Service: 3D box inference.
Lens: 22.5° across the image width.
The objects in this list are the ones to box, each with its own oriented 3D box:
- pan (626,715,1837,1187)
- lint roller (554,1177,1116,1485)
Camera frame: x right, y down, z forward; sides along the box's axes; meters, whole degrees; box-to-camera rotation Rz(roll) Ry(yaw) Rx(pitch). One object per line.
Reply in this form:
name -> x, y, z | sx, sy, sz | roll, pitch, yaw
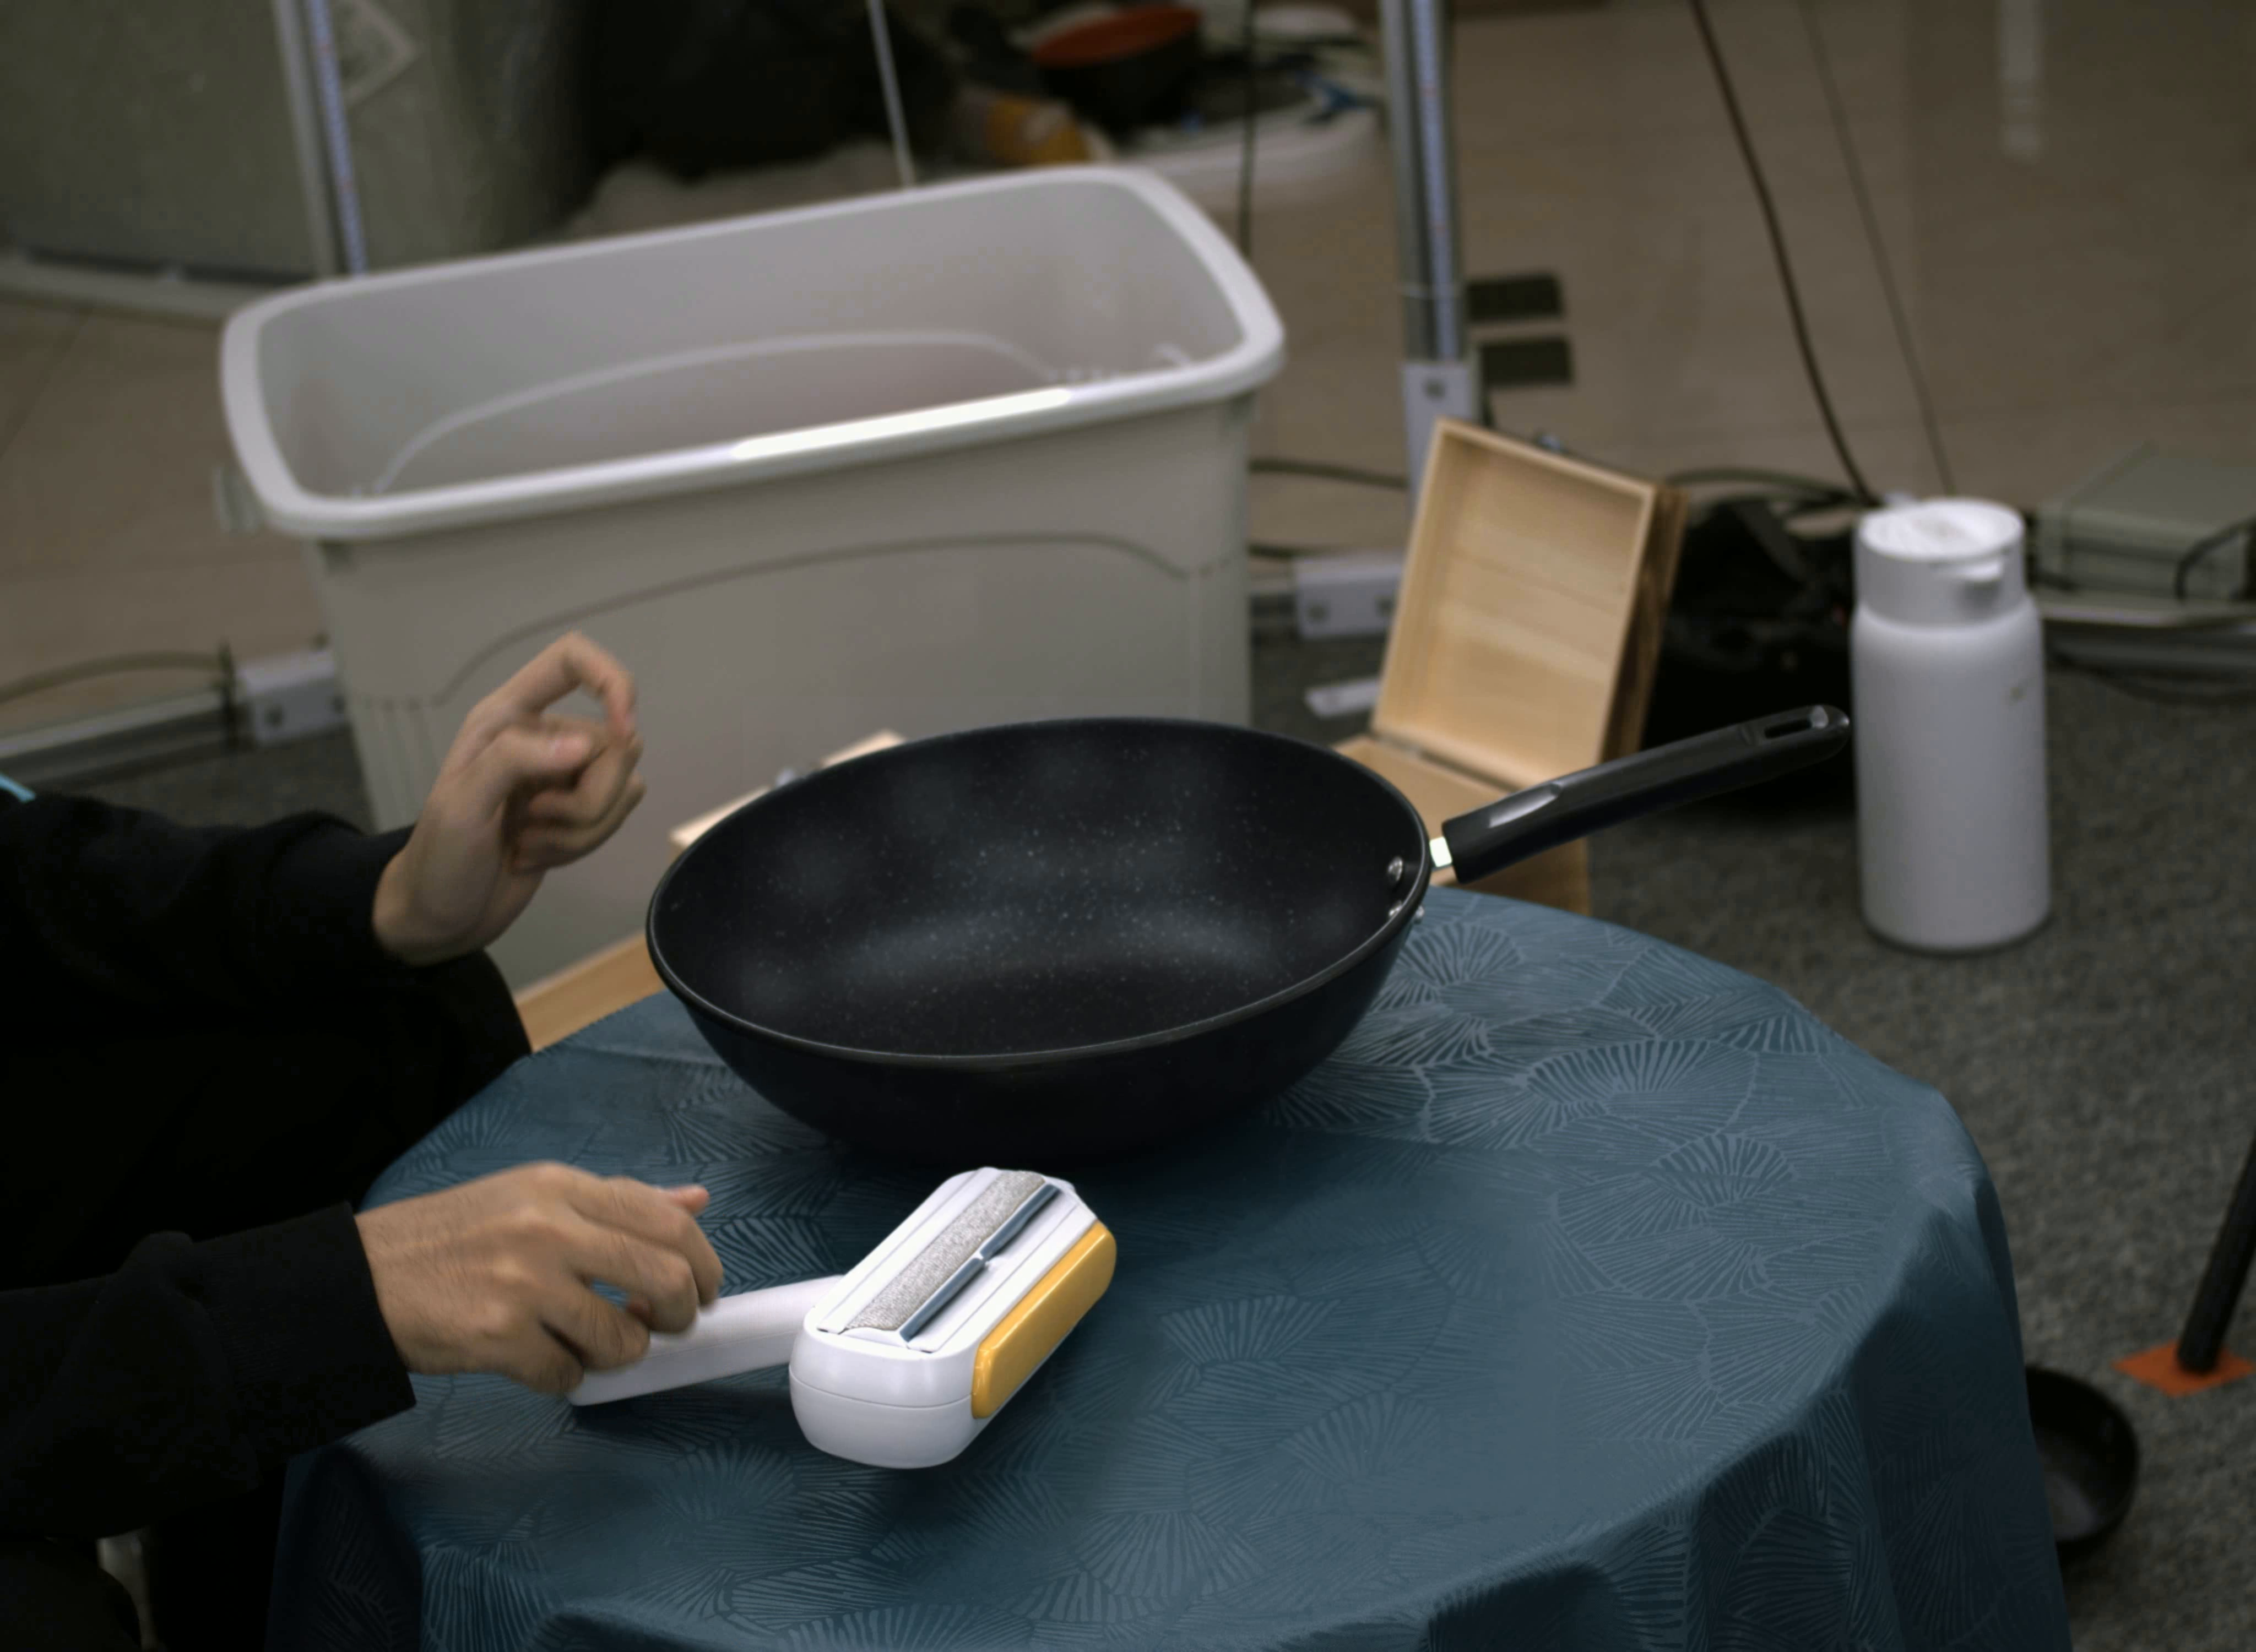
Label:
pan -> 0.044, 0.039, 2.219 | 0.476, 0.113, 0.305 | -8, 27, -2
lint roller -> -0.117, 0.178, 2.008 | 0.192, 0.075, 0.191 | 2, 21, 22
